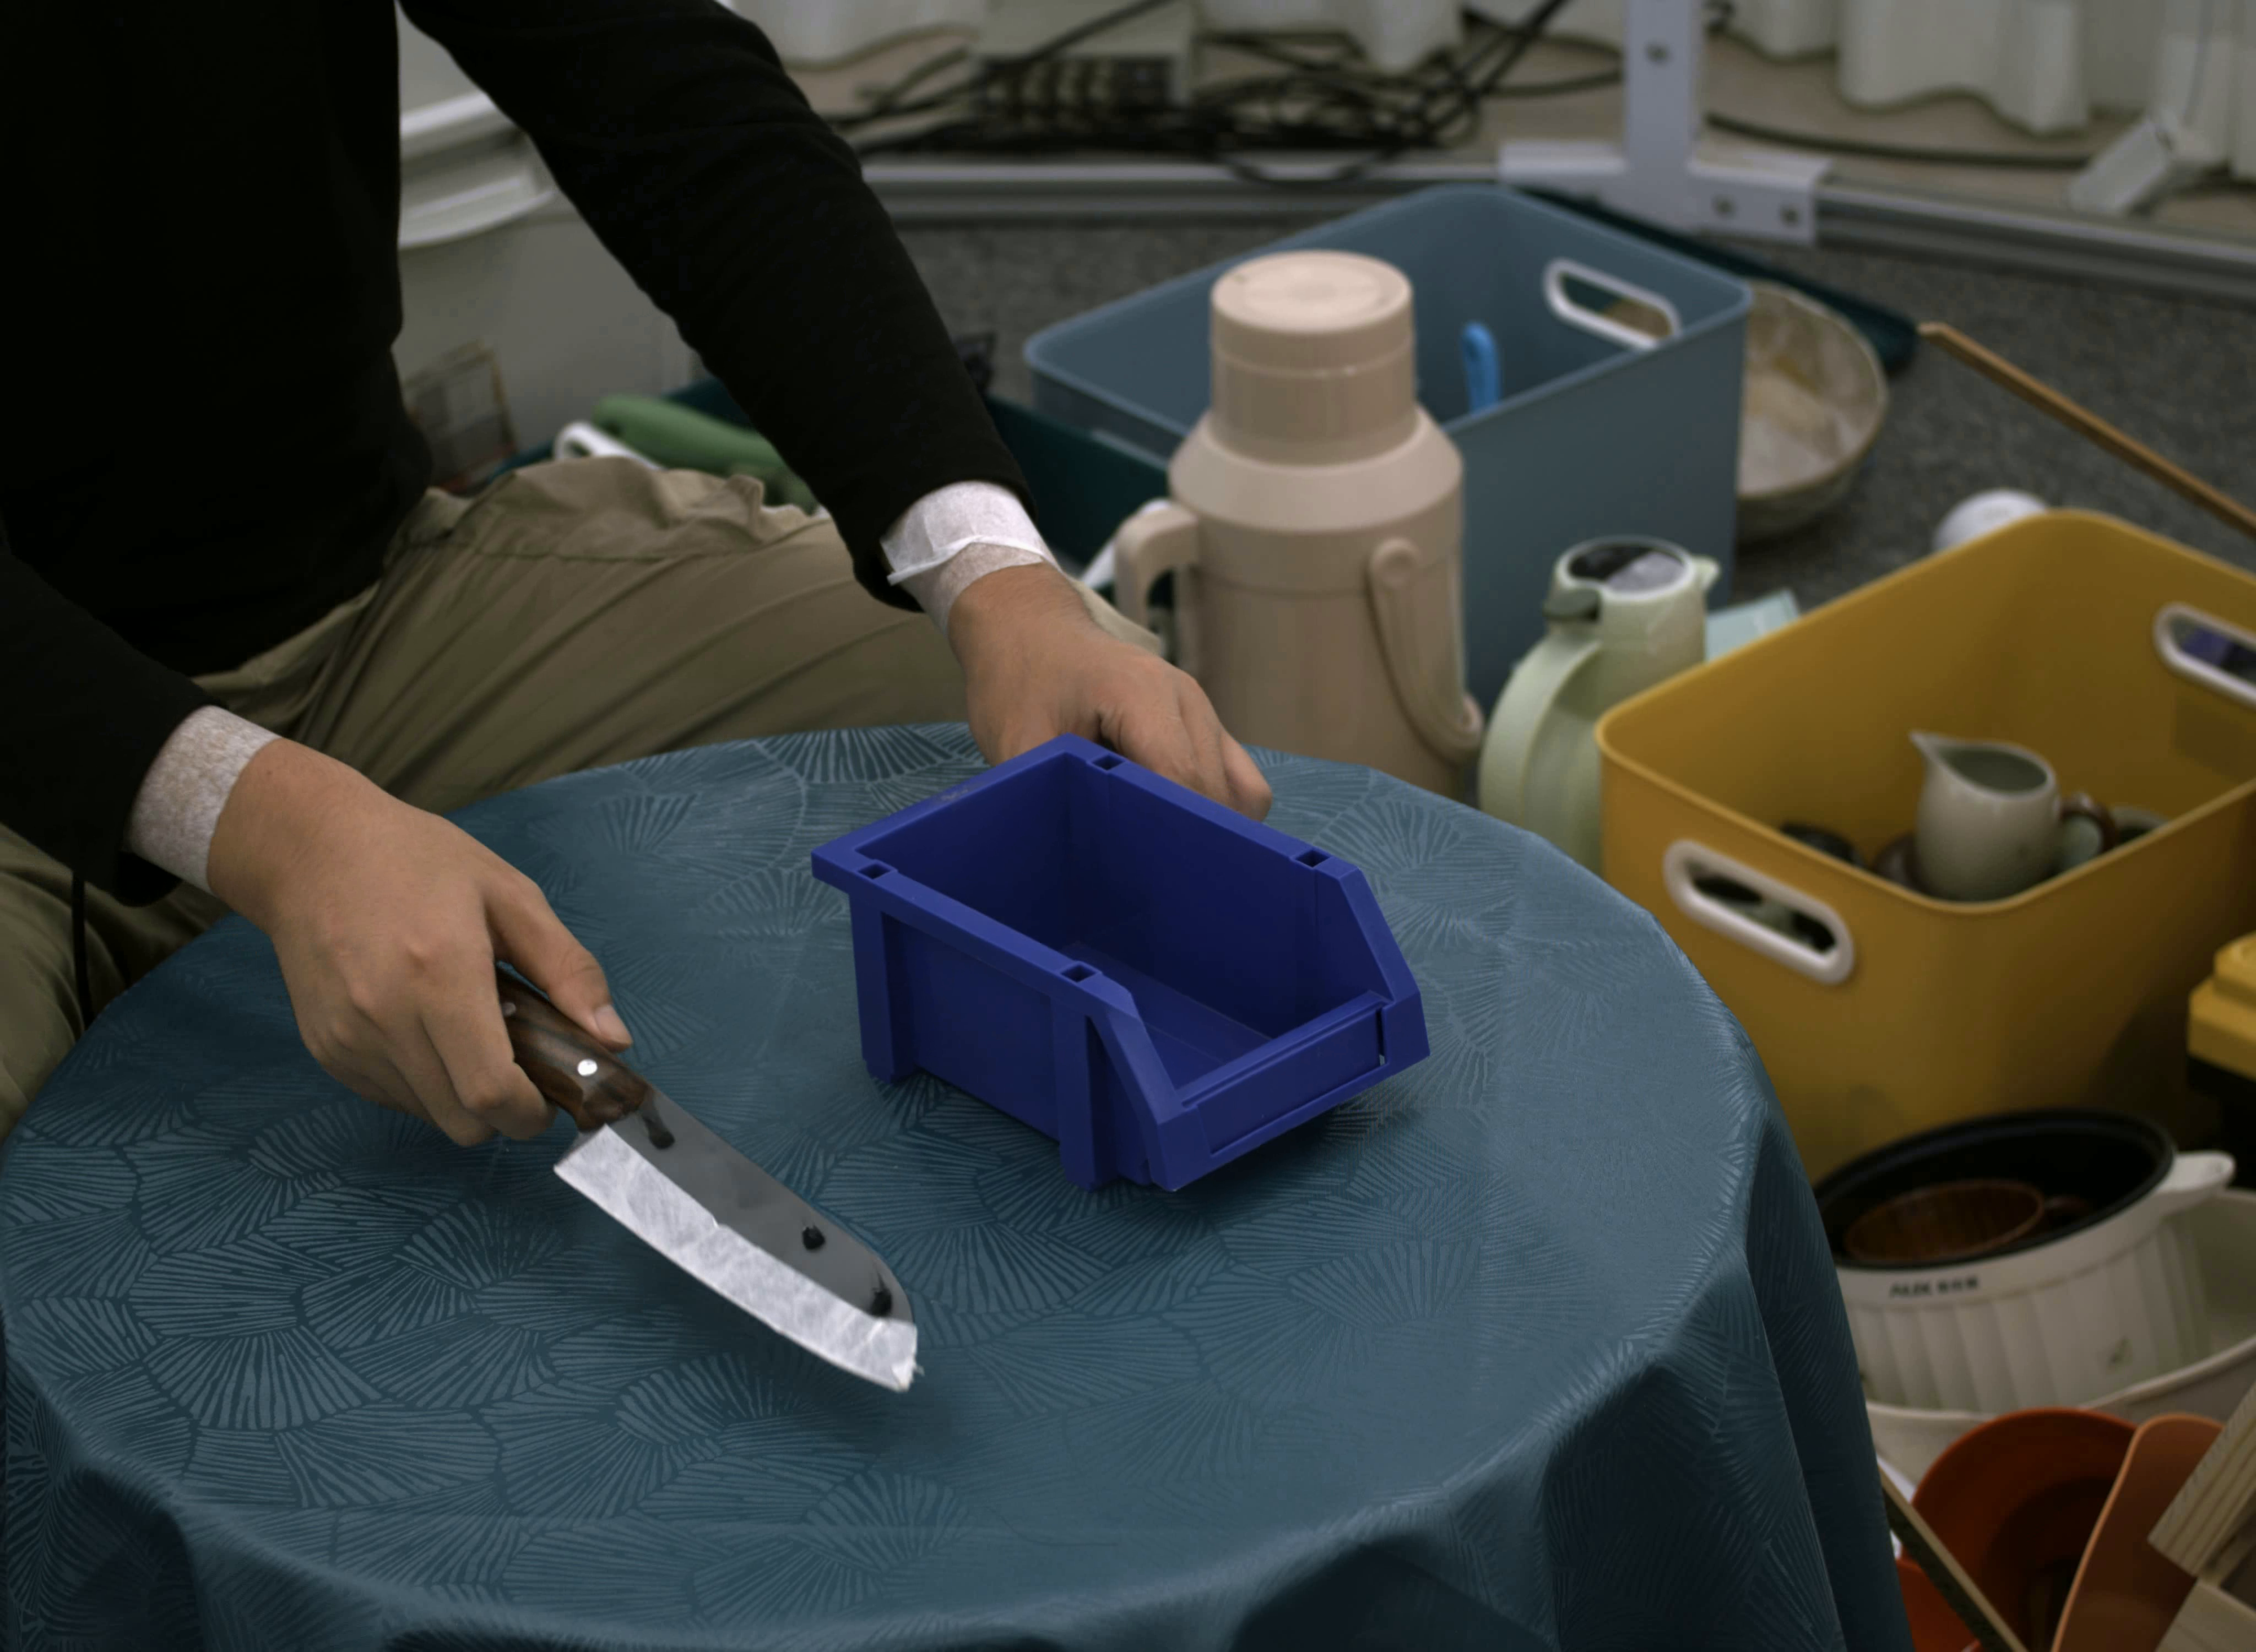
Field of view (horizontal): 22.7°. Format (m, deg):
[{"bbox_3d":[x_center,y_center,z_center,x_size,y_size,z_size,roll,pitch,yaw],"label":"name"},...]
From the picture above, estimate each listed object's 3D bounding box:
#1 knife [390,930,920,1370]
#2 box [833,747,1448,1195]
[{"bbox_3d":[-0.155,0.104,1.810,0.051,0.020,0.290,-36,44,-20],"label":"knife"},{"bbox_3d":[0.005,0.052,1.907,0.126,0.081,0.179,-23,31,-35],"label":"box"}]
